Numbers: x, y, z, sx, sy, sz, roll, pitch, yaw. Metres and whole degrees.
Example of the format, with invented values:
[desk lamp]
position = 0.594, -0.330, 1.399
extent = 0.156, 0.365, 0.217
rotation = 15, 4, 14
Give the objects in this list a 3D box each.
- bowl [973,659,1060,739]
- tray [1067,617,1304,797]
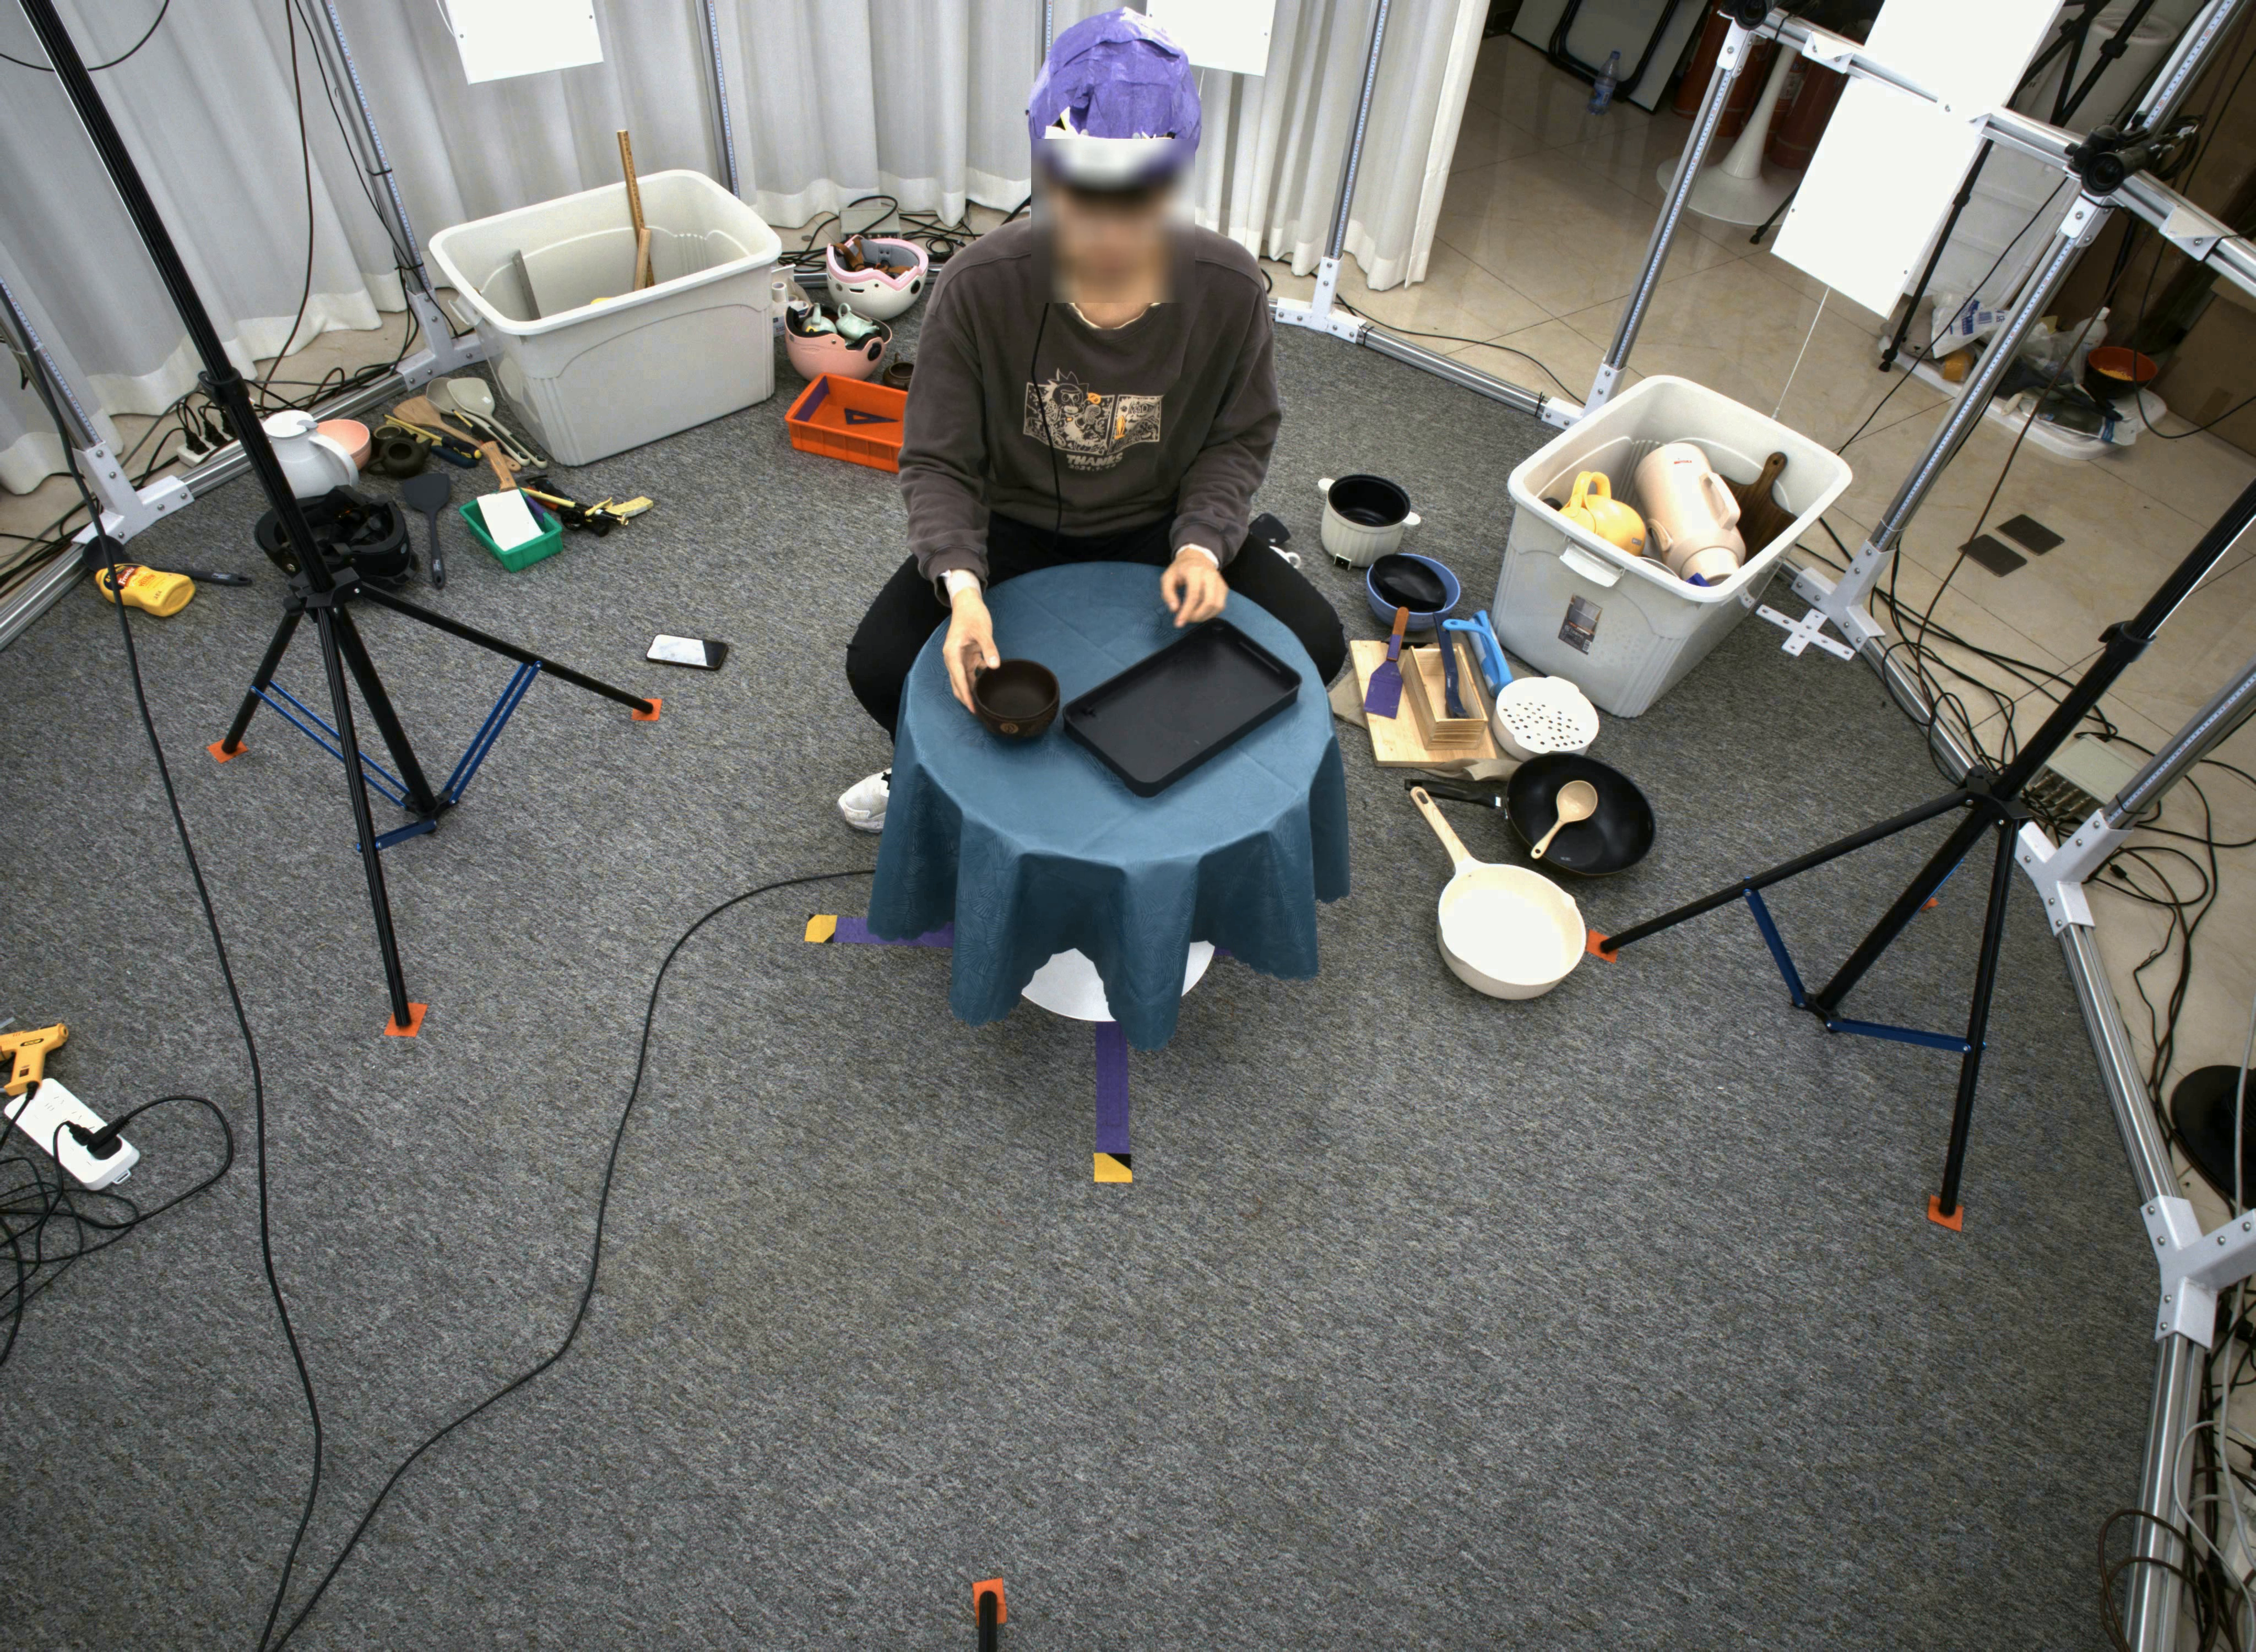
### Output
[bowl]
position = -0.152, -0.165, 1.753
extent = 0.118, 0.068, 0.121
rotation = 1, 48, -2
[tray]
position = 0.083, -0.174, 1.799
extent = 0.321, 0.036, 0.187
rotation = -35, 59, -29
